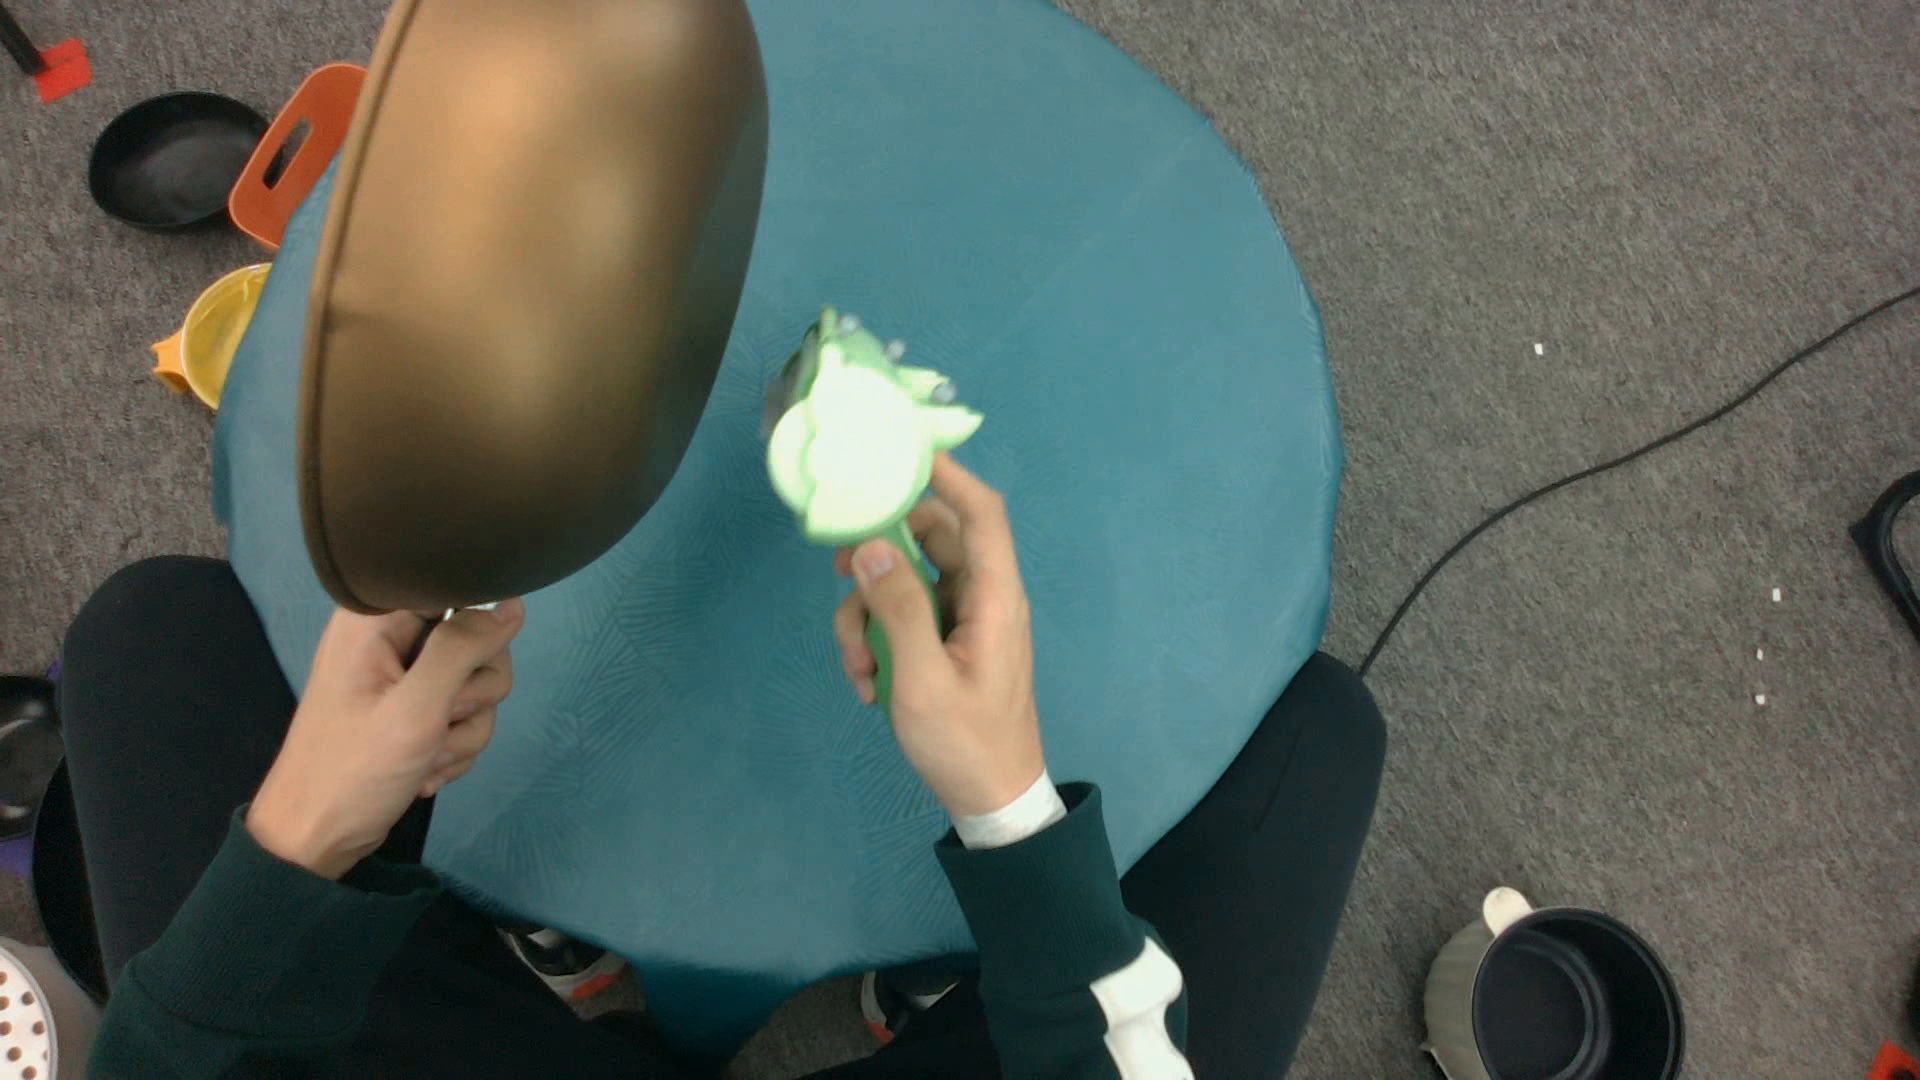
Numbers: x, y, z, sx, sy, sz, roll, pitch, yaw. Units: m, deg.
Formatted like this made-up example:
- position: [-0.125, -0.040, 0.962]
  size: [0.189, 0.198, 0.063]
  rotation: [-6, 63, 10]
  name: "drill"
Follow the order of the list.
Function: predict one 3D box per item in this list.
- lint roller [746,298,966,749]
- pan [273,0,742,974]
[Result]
- position: [-0.025, -0.007, 0.552]
  size: [0.082, 0.199, 0.183]
  rotation: [-26, 105, -2]
  name: "lint roller"
- position: [-0.160, -0.017, 0.518]
  size: [0.087, 0.289, 0.462]
  rotation: [14, 109, -4]
  name: "pan"
